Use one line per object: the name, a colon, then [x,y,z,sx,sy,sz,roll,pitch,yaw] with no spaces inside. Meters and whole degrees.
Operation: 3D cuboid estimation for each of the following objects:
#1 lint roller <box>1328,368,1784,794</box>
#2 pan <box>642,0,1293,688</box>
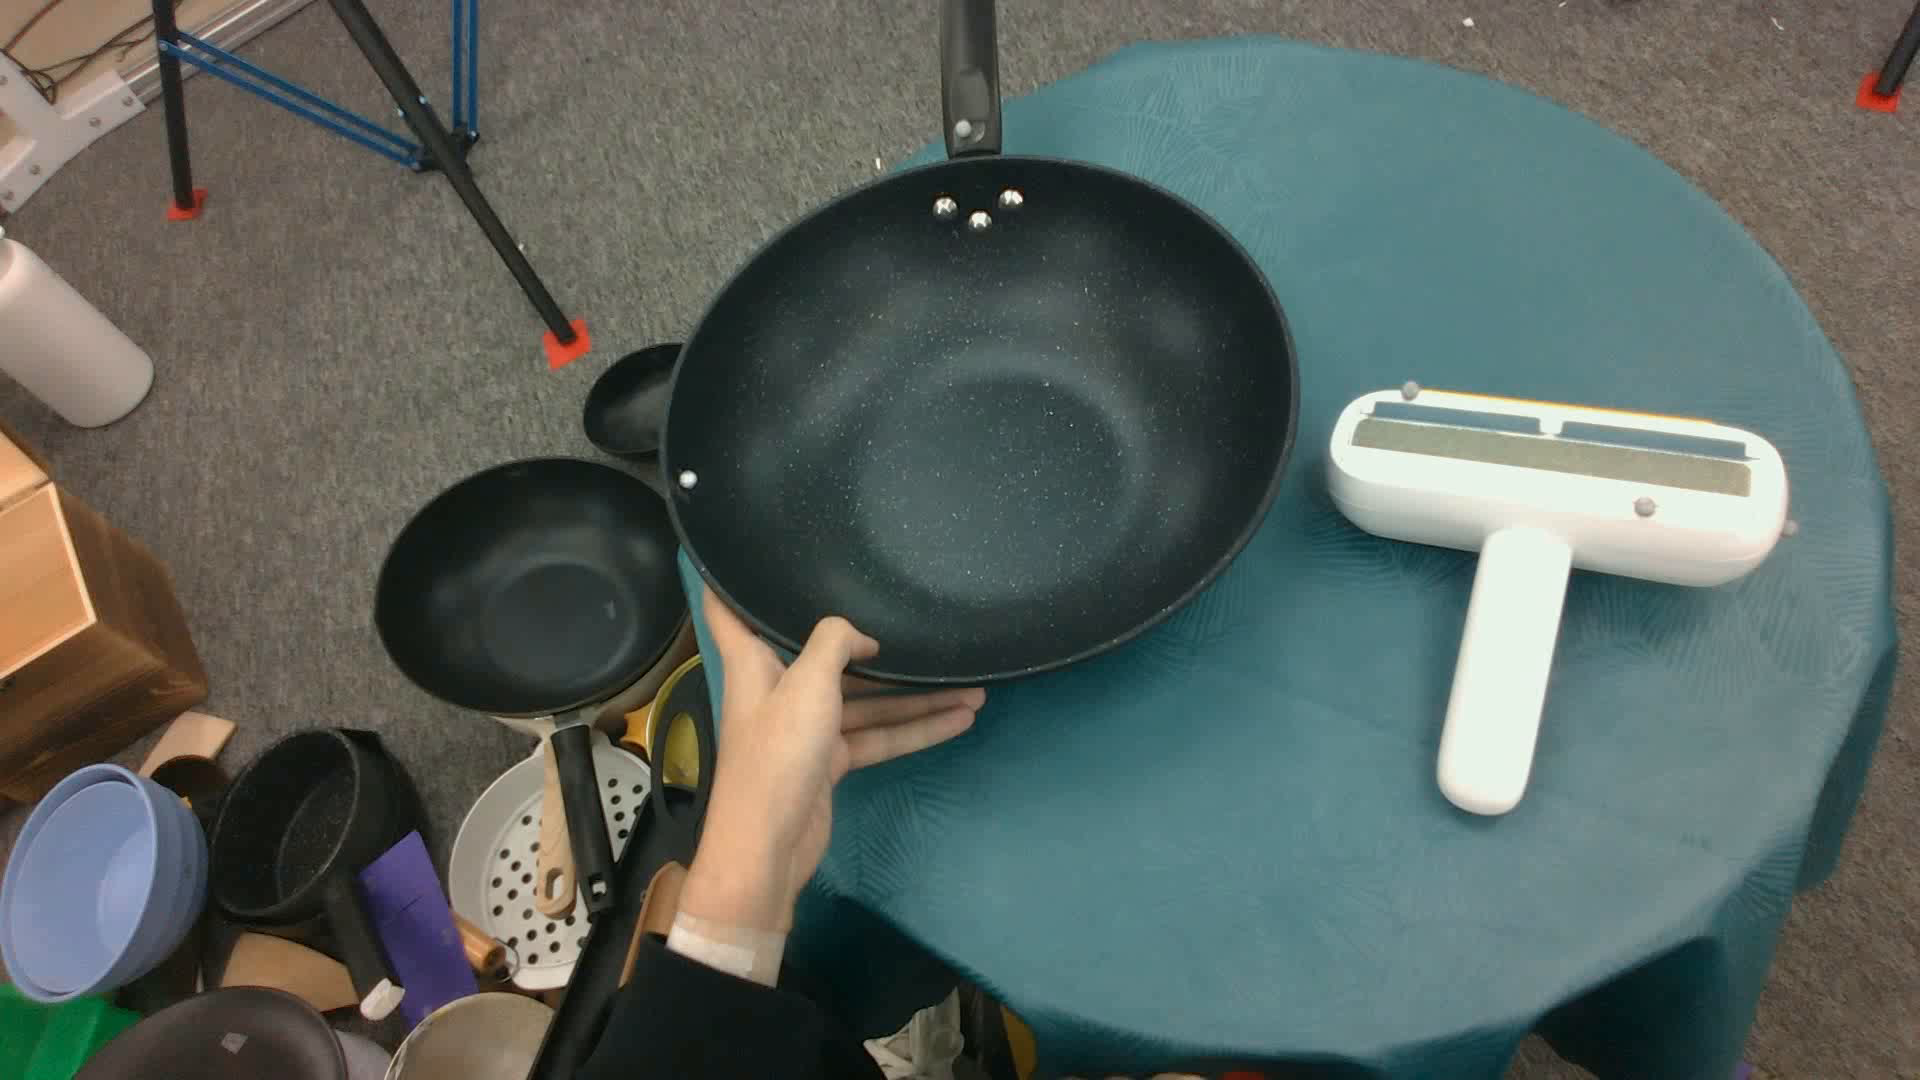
lint roller: [0.244,0.018,0.616,0.192,0.074,0.193,16,66,23]
pan: [0.003,-0.133,0.719,0.310,0.111,0.479,-4,60,5]
